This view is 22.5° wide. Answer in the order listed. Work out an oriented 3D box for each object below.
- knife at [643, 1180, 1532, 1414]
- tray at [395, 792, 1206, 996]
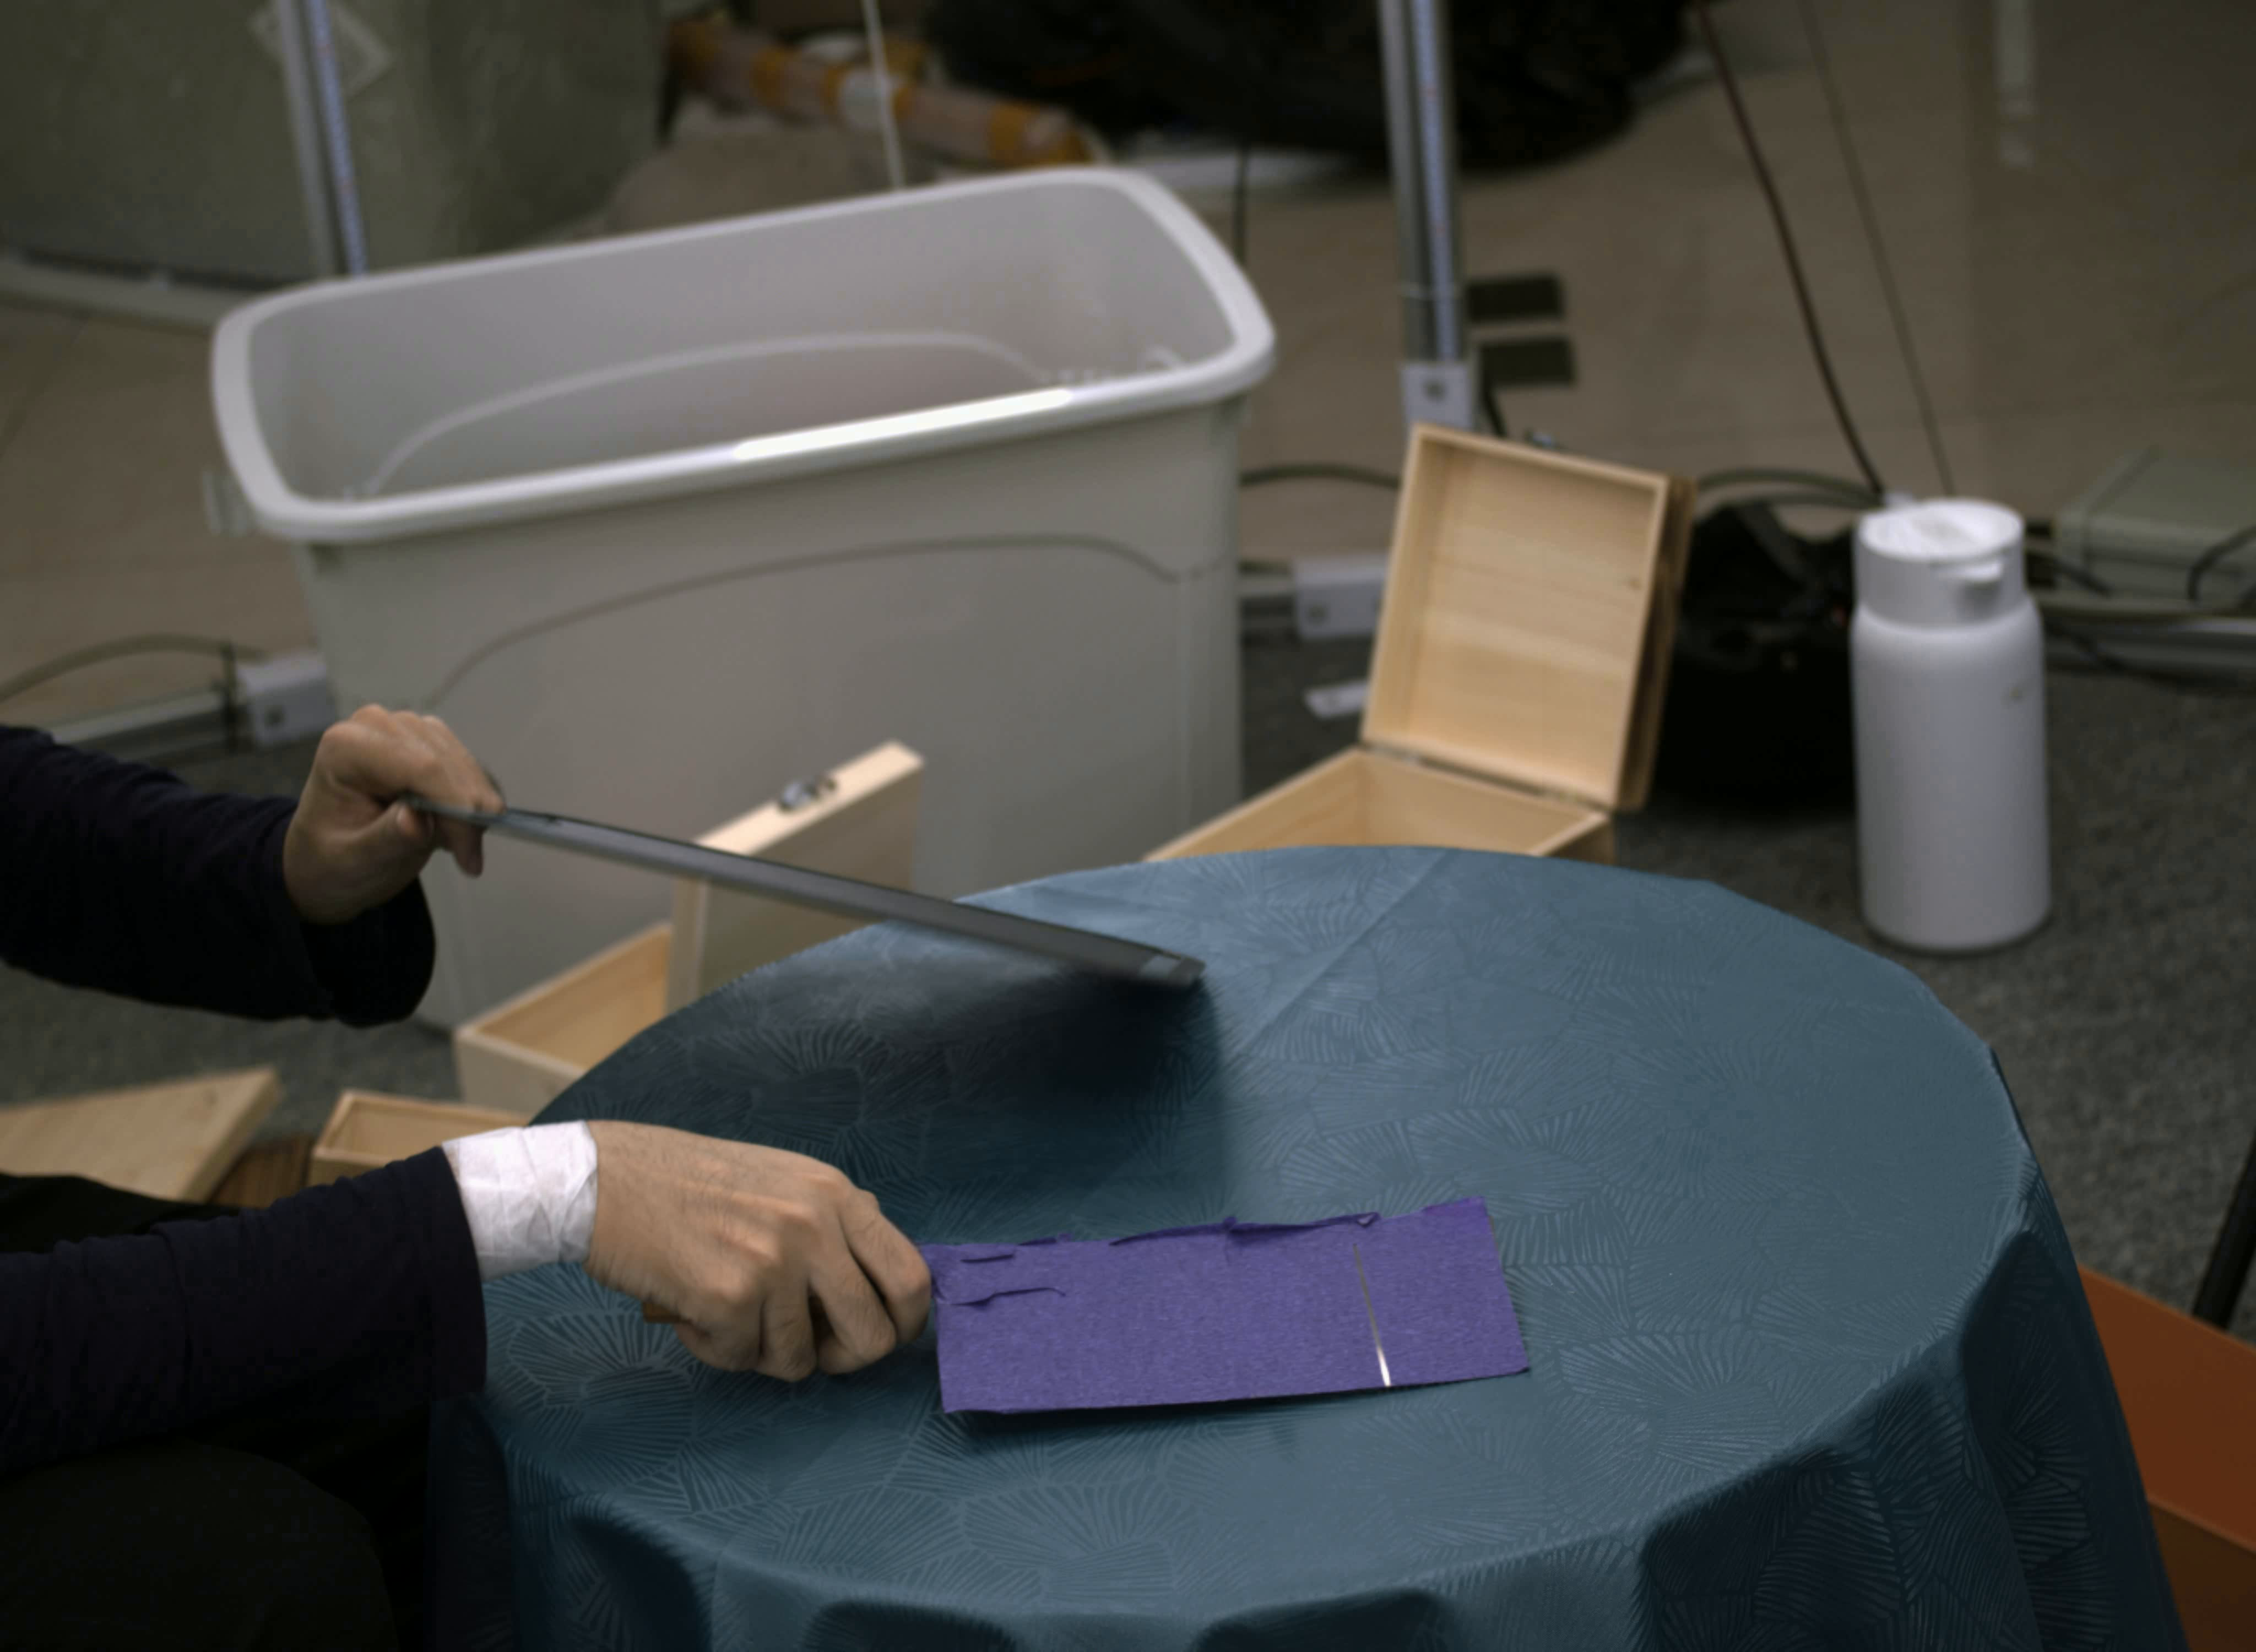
[{"bbox_3d":[-0.016,0.172,2.026,0.315,0.033,0.102,-6,36,-2],"label":"knife"},{"bbox_3d":[-0.130,0.024,2.244,0.325,0.010,0.210,13,4,4],"label":"tray"}]
